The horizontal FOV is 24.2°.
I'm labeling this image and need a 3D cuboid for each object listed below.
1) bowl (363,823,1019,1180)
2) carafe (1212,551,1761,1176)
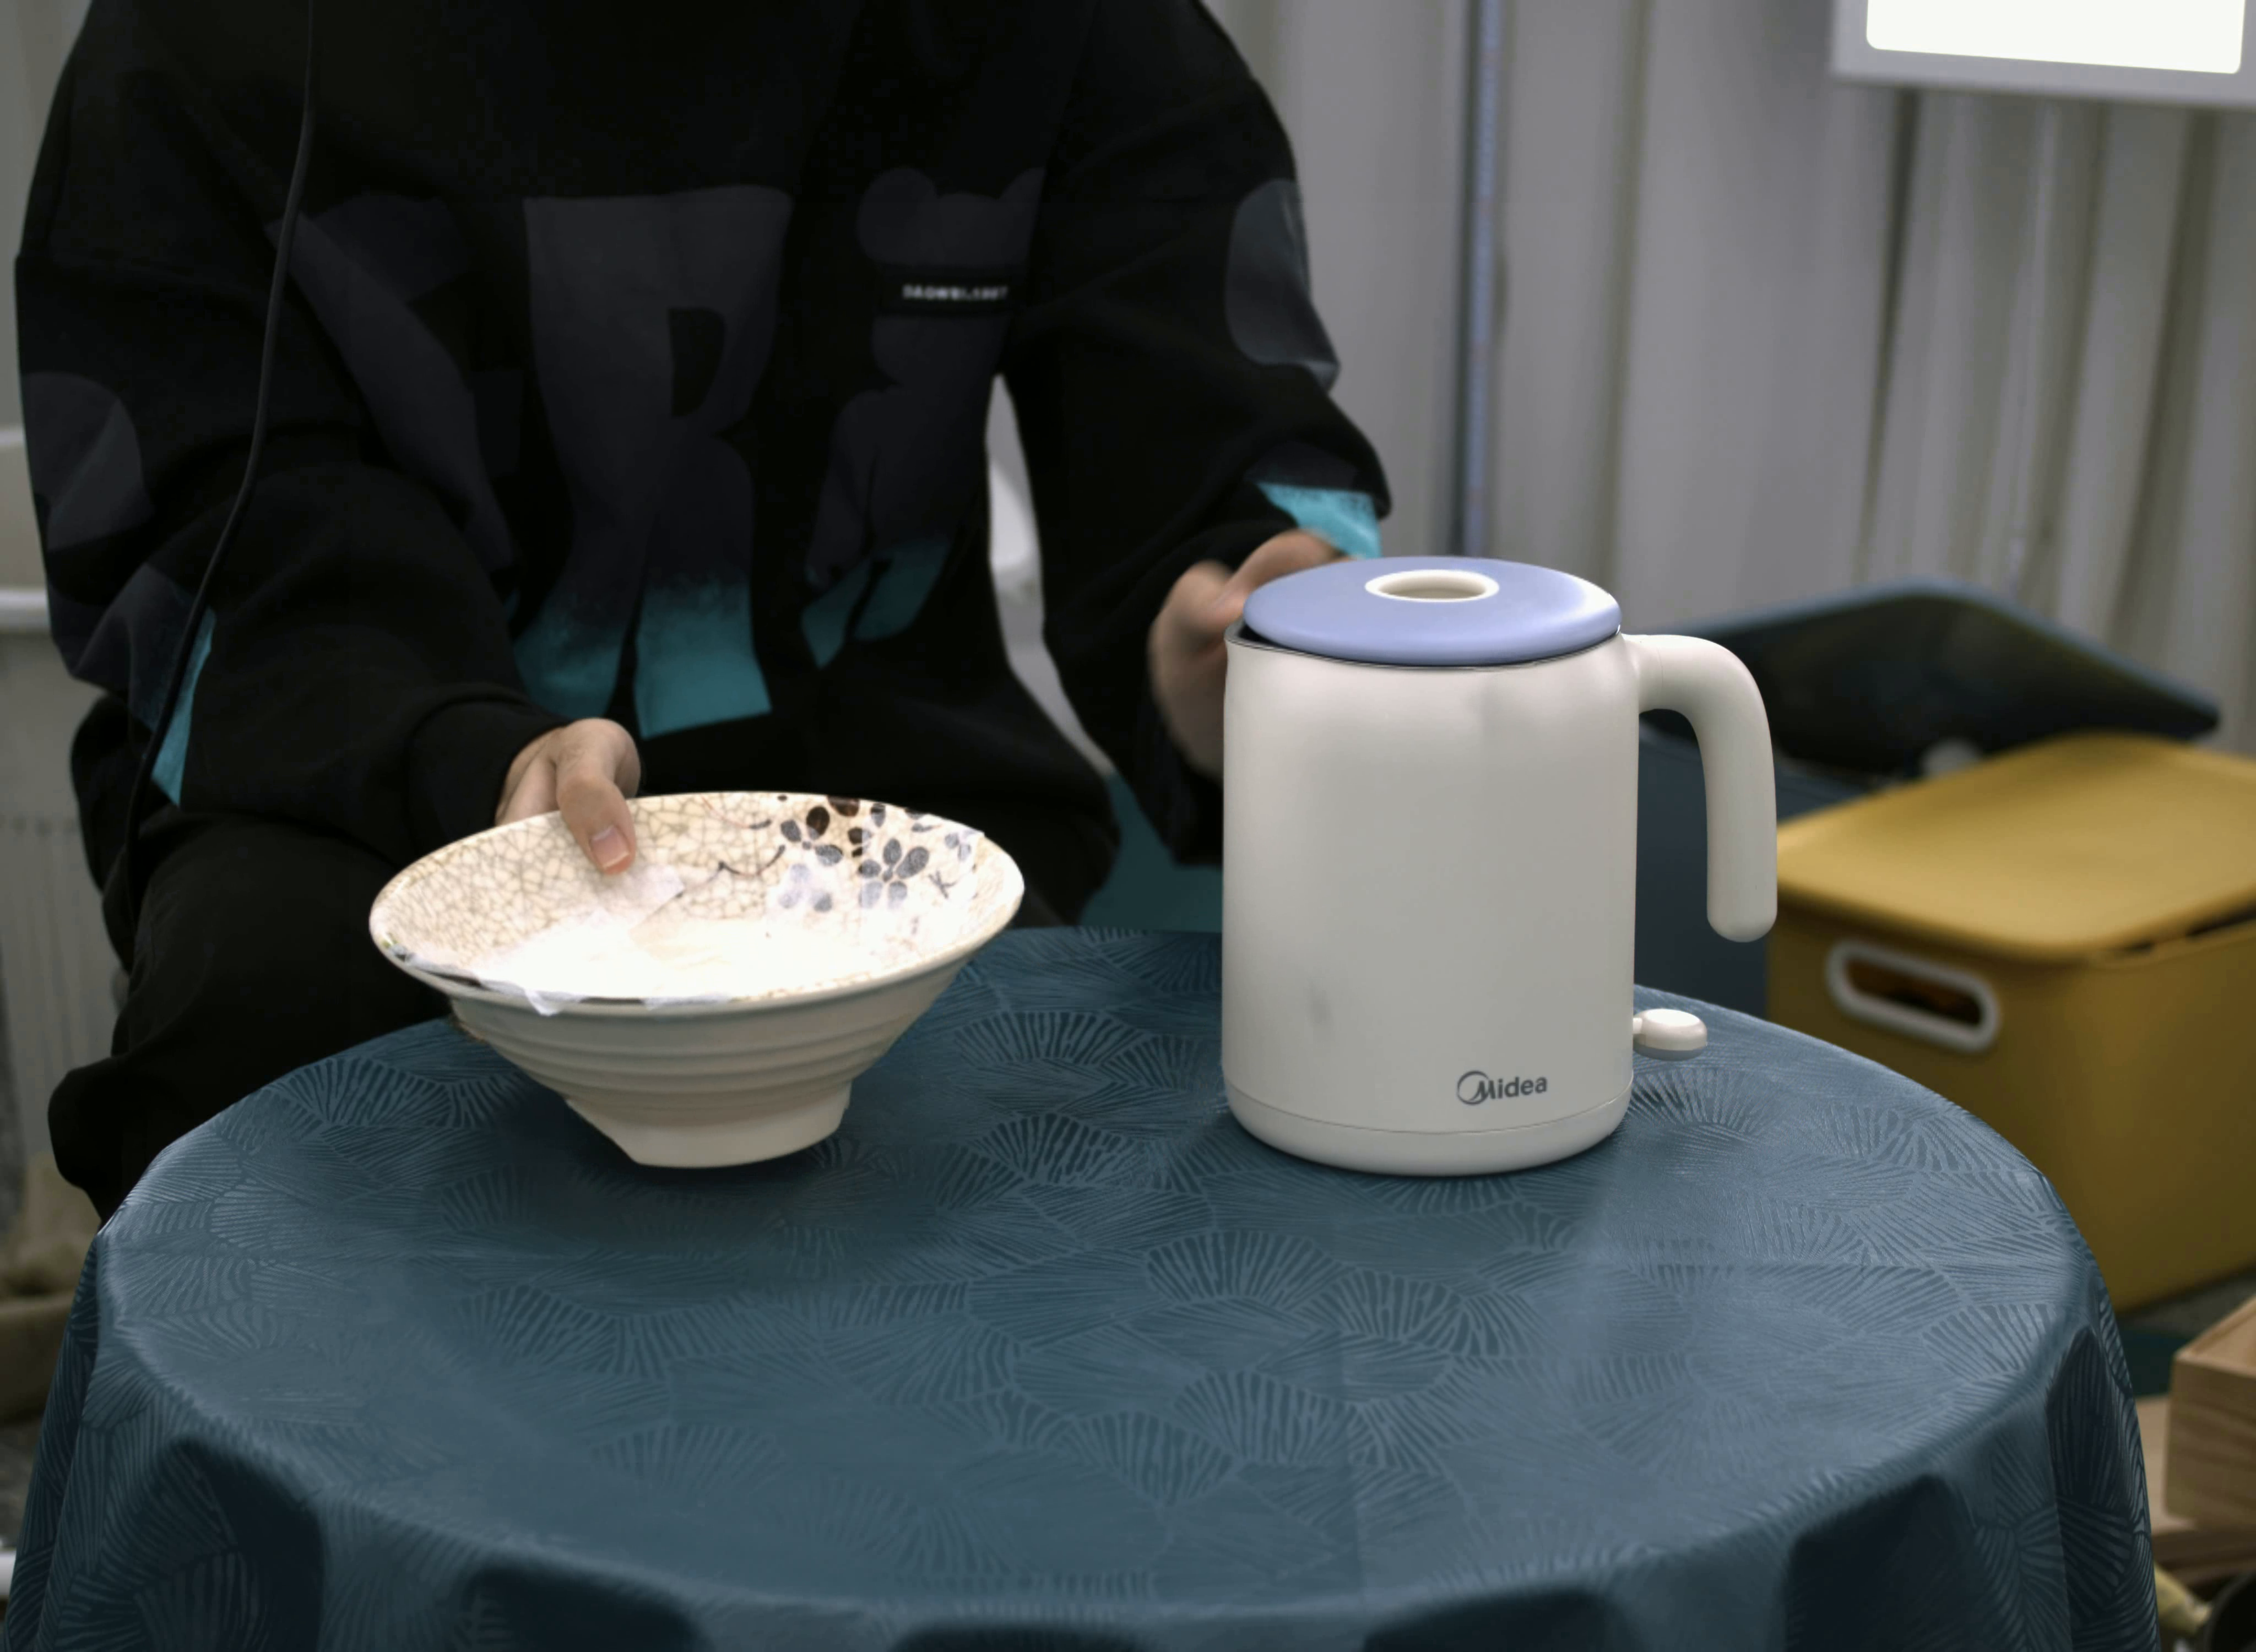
[{"bbox_3d":[-0.134,0.060,1.641,0.203,0.078,0.203,-1,14,1],"label":"bowl"},{"bbox_3d":[0.117,0.010,1.674,0.191,0.184,0.131,-3,17,-20],"label":"carafe"}]
